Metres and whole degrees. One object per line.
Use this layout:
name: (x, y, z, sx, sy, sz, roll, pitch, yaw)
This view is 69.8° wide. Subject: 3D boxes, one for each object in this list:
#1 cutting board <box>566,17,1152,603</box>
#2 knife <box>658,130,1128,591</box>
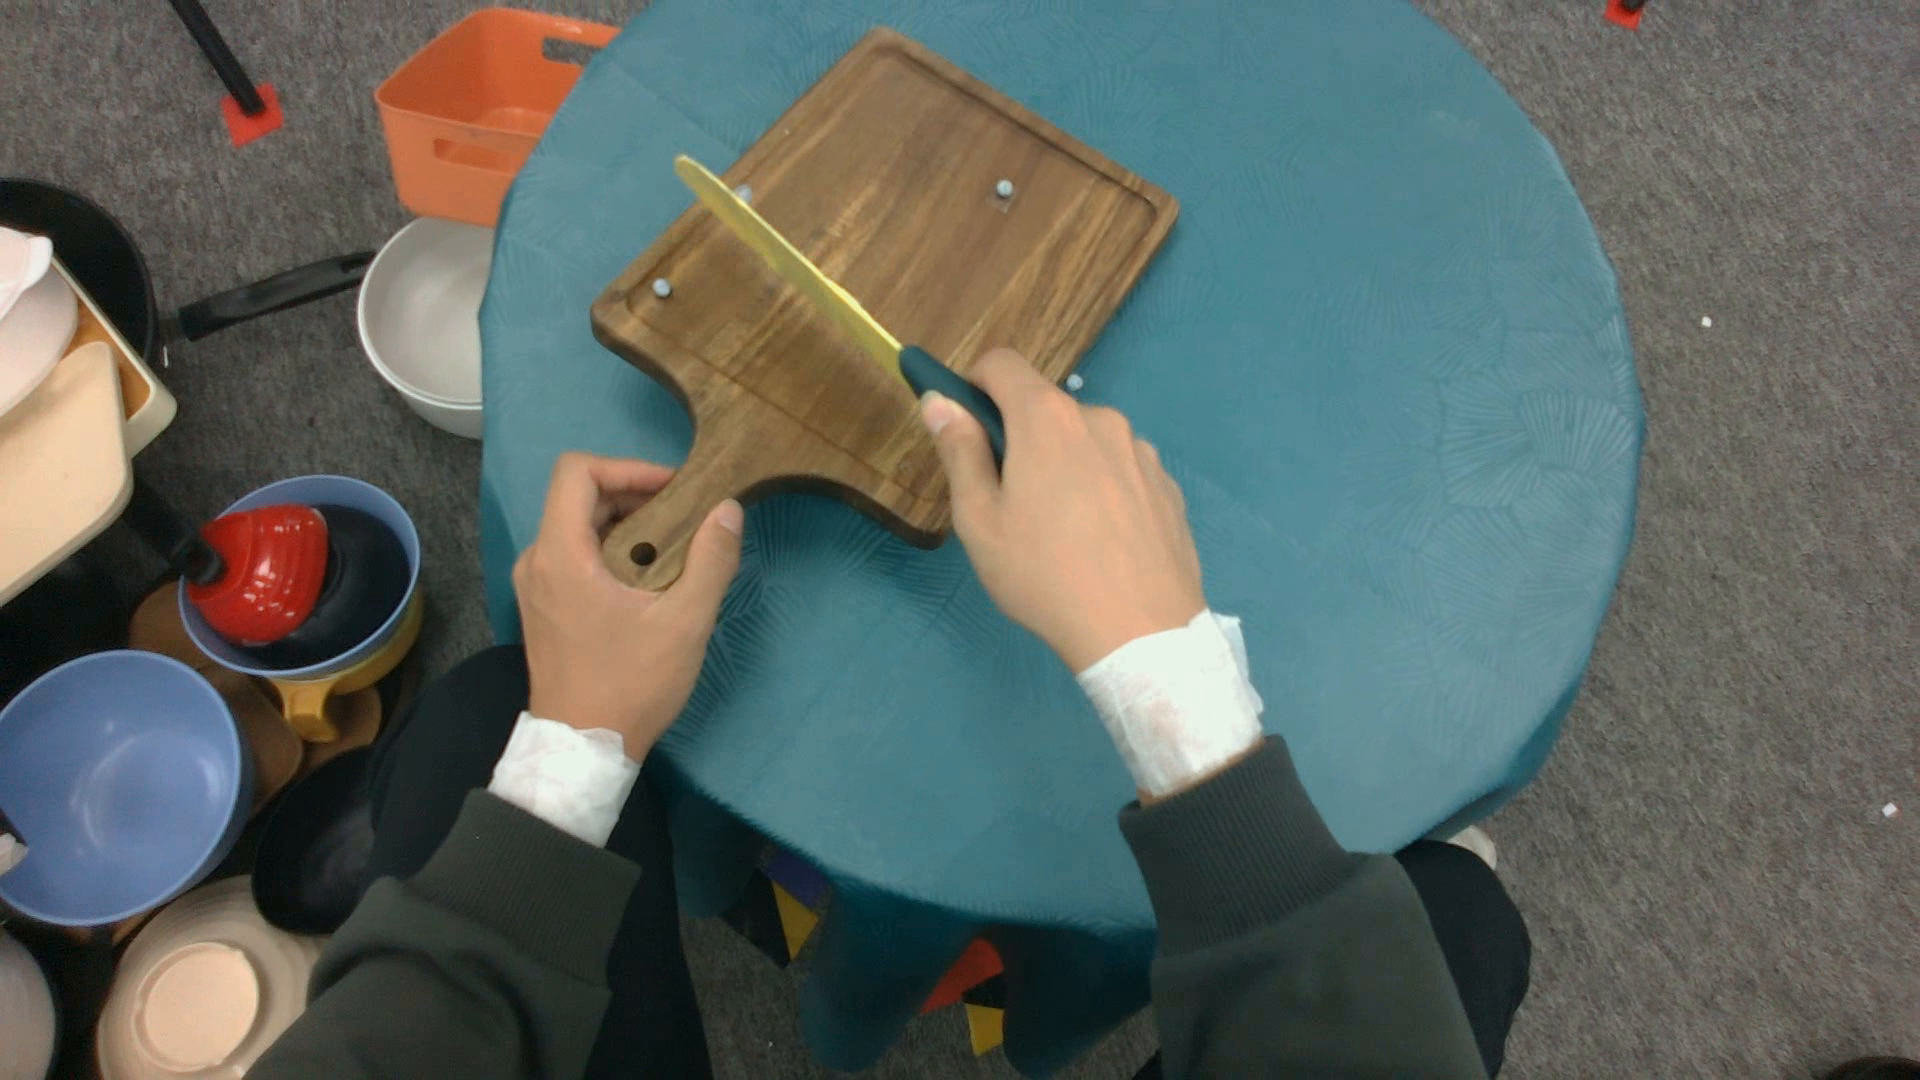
cutting board: (-0.065, -0.108, 0.660, 0.201, 0.023, 0.354, 31, 61, 6)
knife: (-0.036, -0.082, 0.587, 0.027, 0.081, 0.289, -44, 77, -1)
